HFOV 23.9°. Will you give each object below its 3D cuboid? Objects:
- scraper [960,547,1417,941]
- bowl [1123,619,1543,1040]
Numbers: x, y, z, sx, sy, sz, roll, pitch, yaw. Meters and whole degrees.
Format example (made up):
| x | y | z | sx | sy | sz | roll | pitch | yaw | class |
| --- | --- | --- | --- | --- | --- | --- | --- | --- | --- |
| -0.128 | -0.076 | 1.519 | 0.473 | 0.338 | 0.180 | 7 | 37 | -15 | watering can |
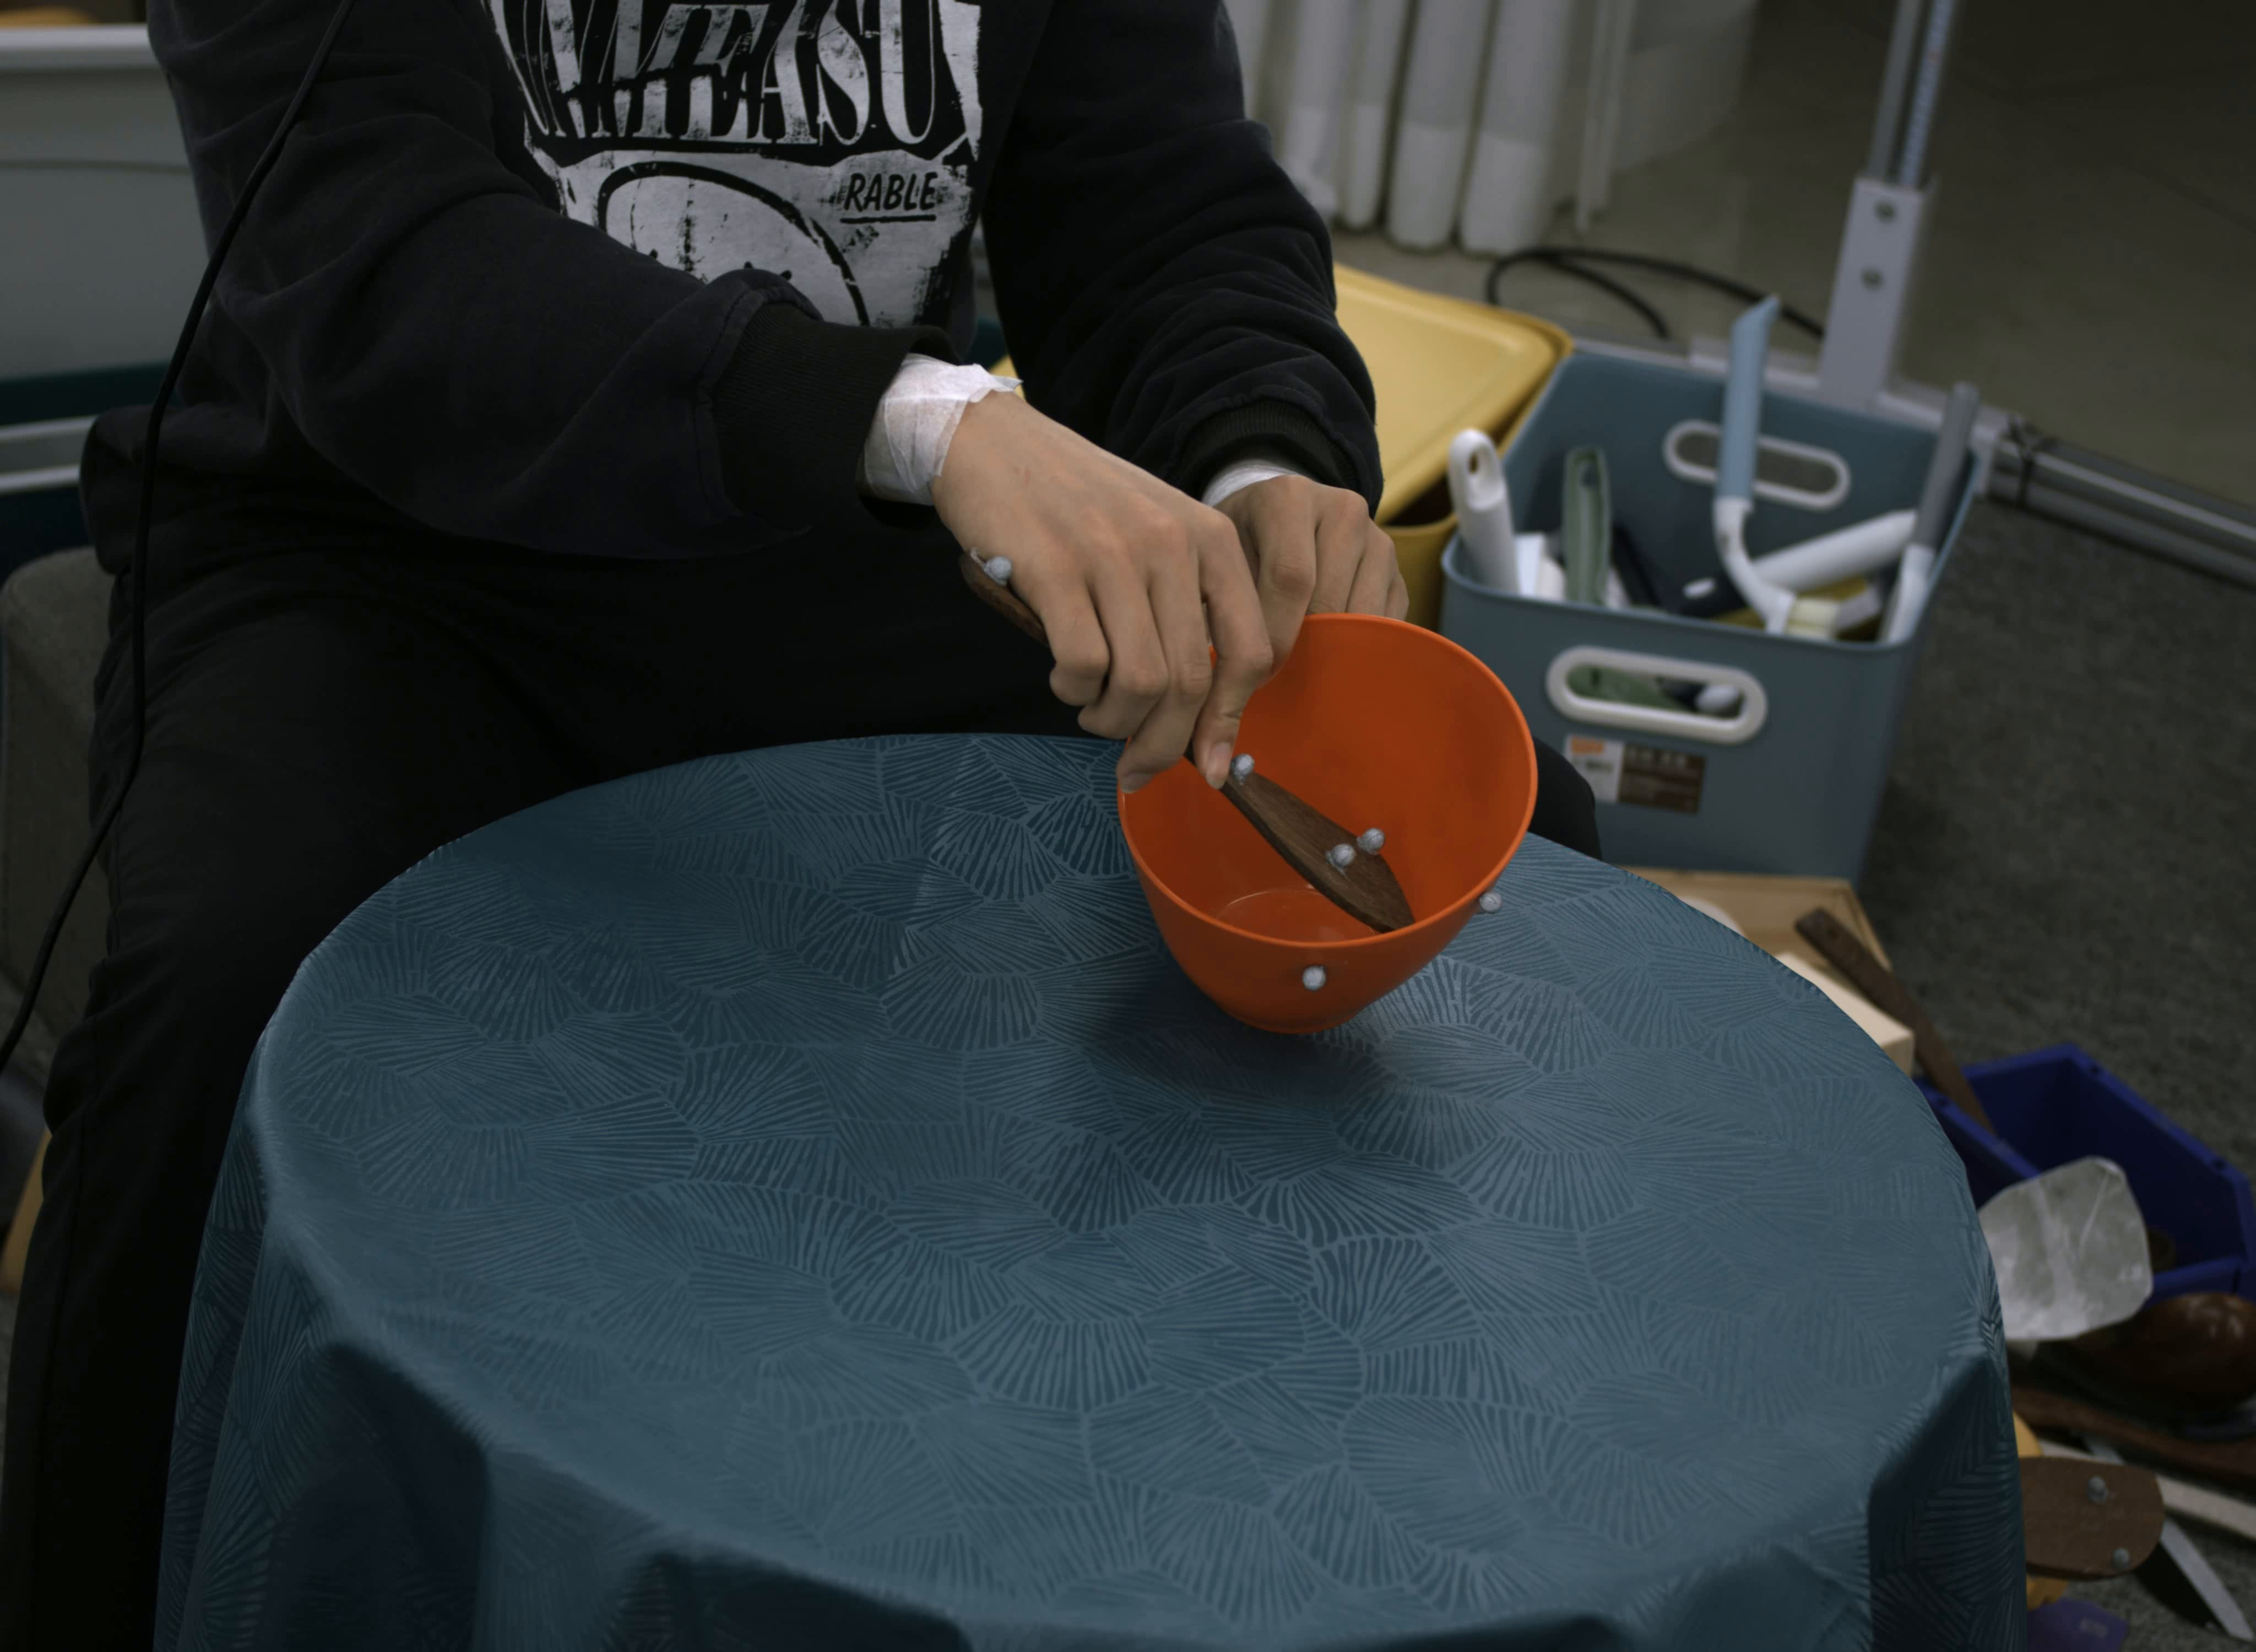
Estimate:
| x | y | z | sx | sy | sz | roll | pitch | yaw | class |
| --- | --- | --- | --- | --- | --- | --- | --- | --- | --- |
| 0.020 | -0.030 | 1.835 | 0.210 | 0.011 | 0.076 | 38 | 15 | -23 | scraper |
| 0.070 | 0.012 | 1.902 | 0.147 | 0.104 | 0.149 | 2 | 46 | -2 | bowl |
